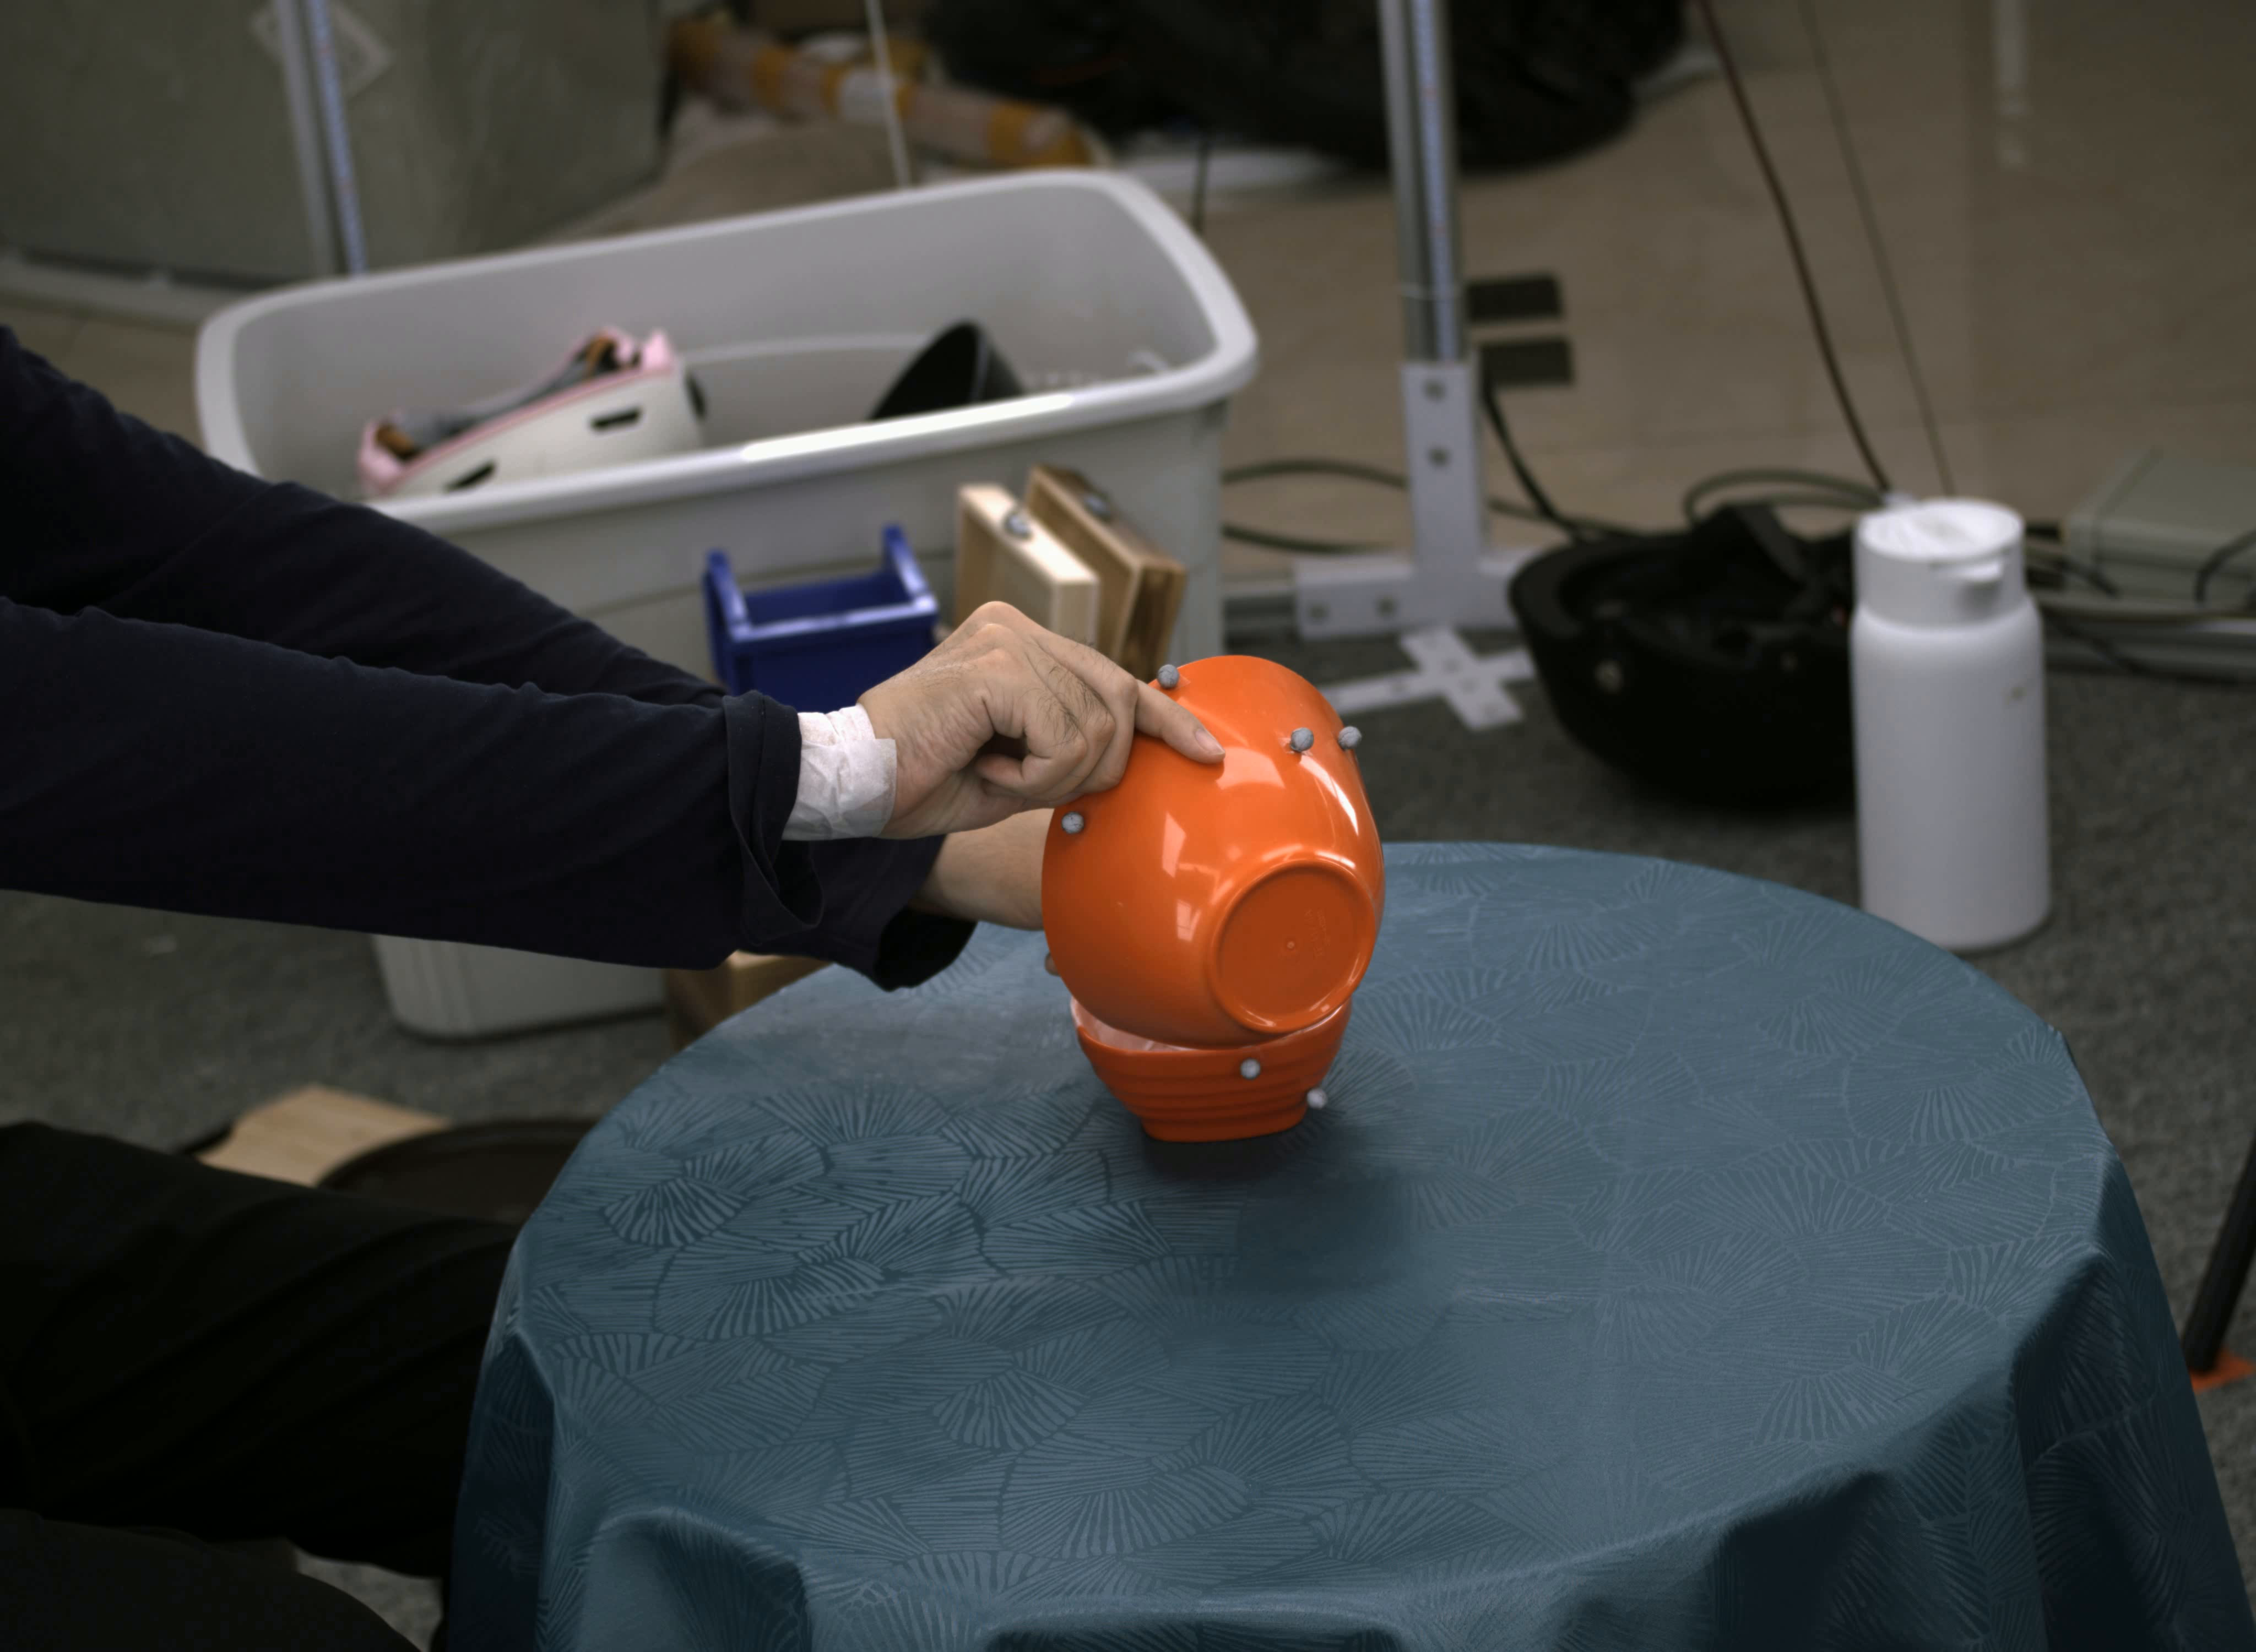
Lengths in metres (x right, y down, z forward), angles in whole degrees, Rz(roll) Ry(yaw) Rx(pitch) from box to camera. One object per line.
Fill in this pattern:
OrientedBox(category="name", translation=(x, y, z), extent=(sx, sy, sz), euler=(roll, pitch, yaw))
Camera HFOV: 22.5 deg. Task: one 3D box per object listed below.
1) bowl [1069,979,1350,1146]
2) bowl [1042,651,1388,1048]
OrientedBox(category="bowl", translation=(0.034, 0.085, 2.201), extent=(0.119, 0.052, 0.117), euler=(-7, 26, 4))
OrientedBox(category="bowl", translation=(0.047, 0.021, 2.069), extent=(0.147, 0.150, 0.103), euler=(-17, 29, -22))
